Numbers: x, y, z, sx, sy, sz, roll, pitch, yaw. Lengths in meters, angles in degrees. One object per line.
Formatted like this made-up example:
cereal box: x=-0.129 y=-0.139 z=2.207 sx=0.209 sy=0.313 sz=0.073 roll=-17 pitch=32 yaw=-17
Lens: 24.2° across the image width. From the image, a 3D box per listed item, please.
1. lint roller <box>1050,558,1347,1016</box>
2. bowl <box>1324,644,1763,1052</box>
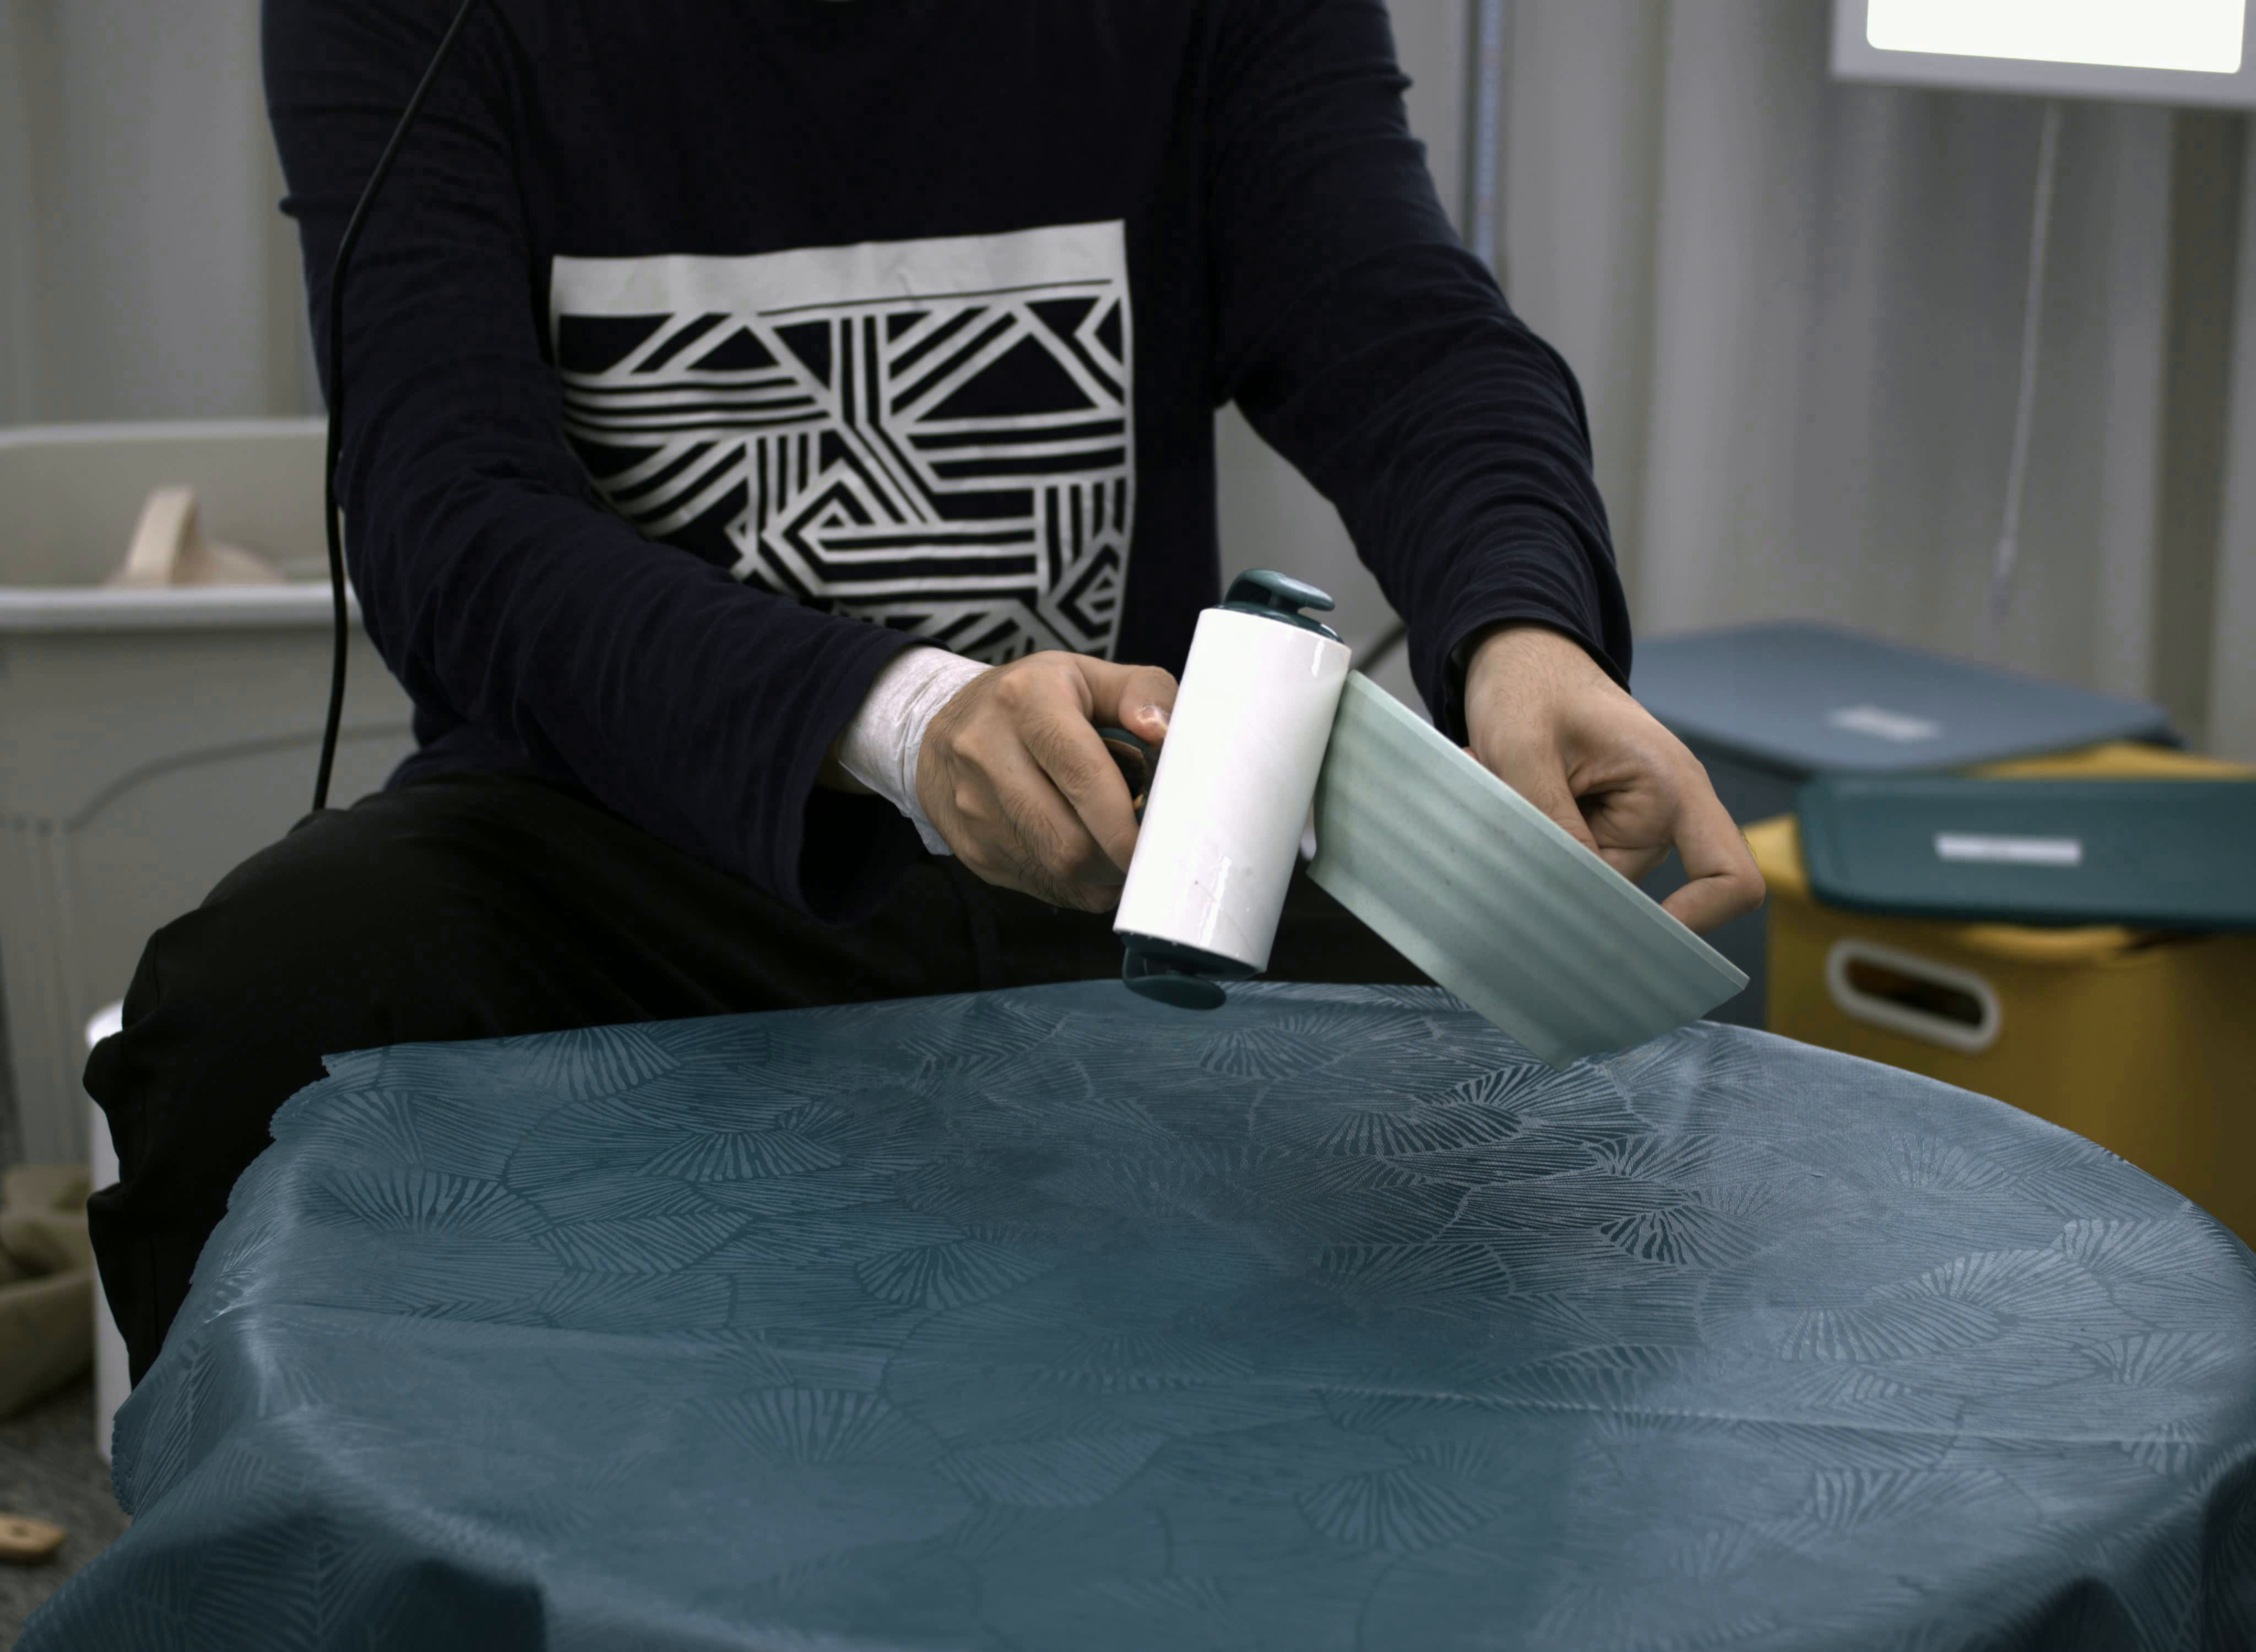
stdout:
lint roller: x=0.000 y=-0.012 z=1.610 sx=0.049 sy=0.134 sz=0.178 roll=18 pitch=-6 yaw=-26
bowl: x=0.113 y=0.015 z=1.569 sx=0.152 sy=0.059 sz=0.150 roll=37 pitch=13 yaw=-9
